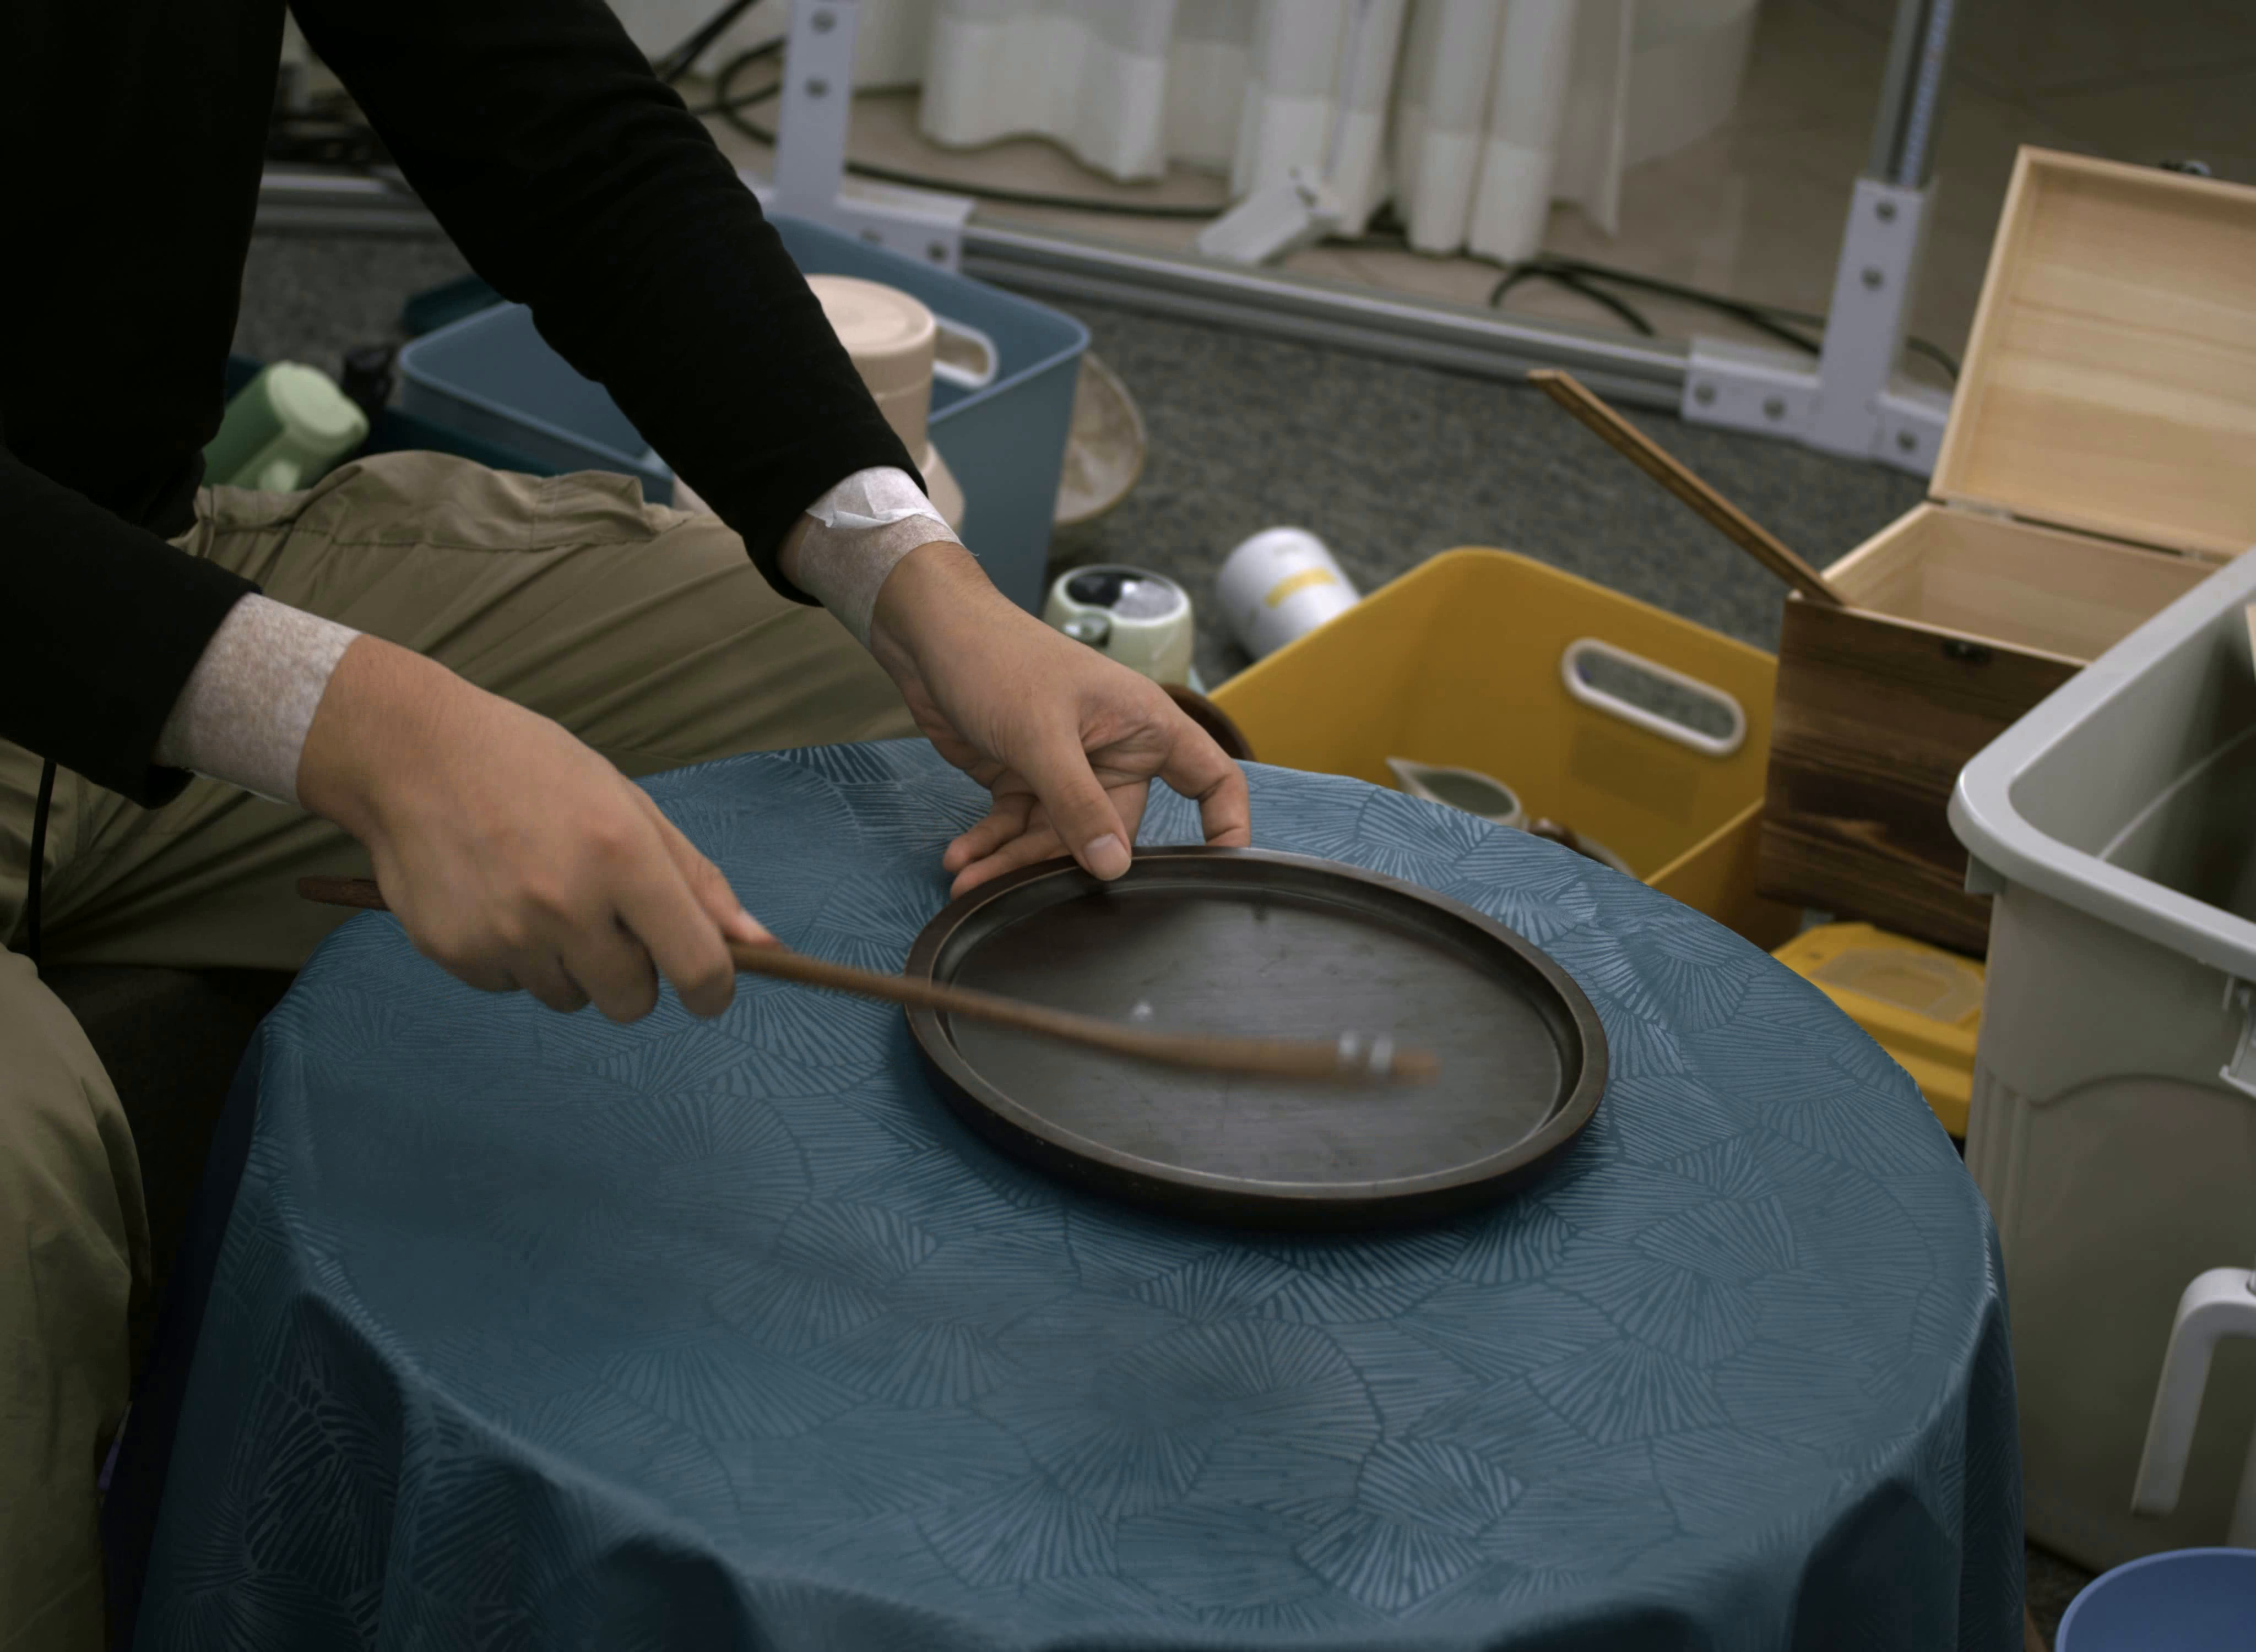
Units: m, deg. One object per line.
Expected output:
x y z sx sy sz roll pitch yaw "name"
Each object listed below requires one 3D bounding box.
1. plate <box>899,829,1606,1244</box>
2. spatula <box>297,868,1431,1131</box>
0.043 0.075 1.883 0.254 0.029 0.256 5 28 -3 "plate"
-0.090 0.054 1.705 0.386 0.016 0.096 12 8 15 "spatula"
